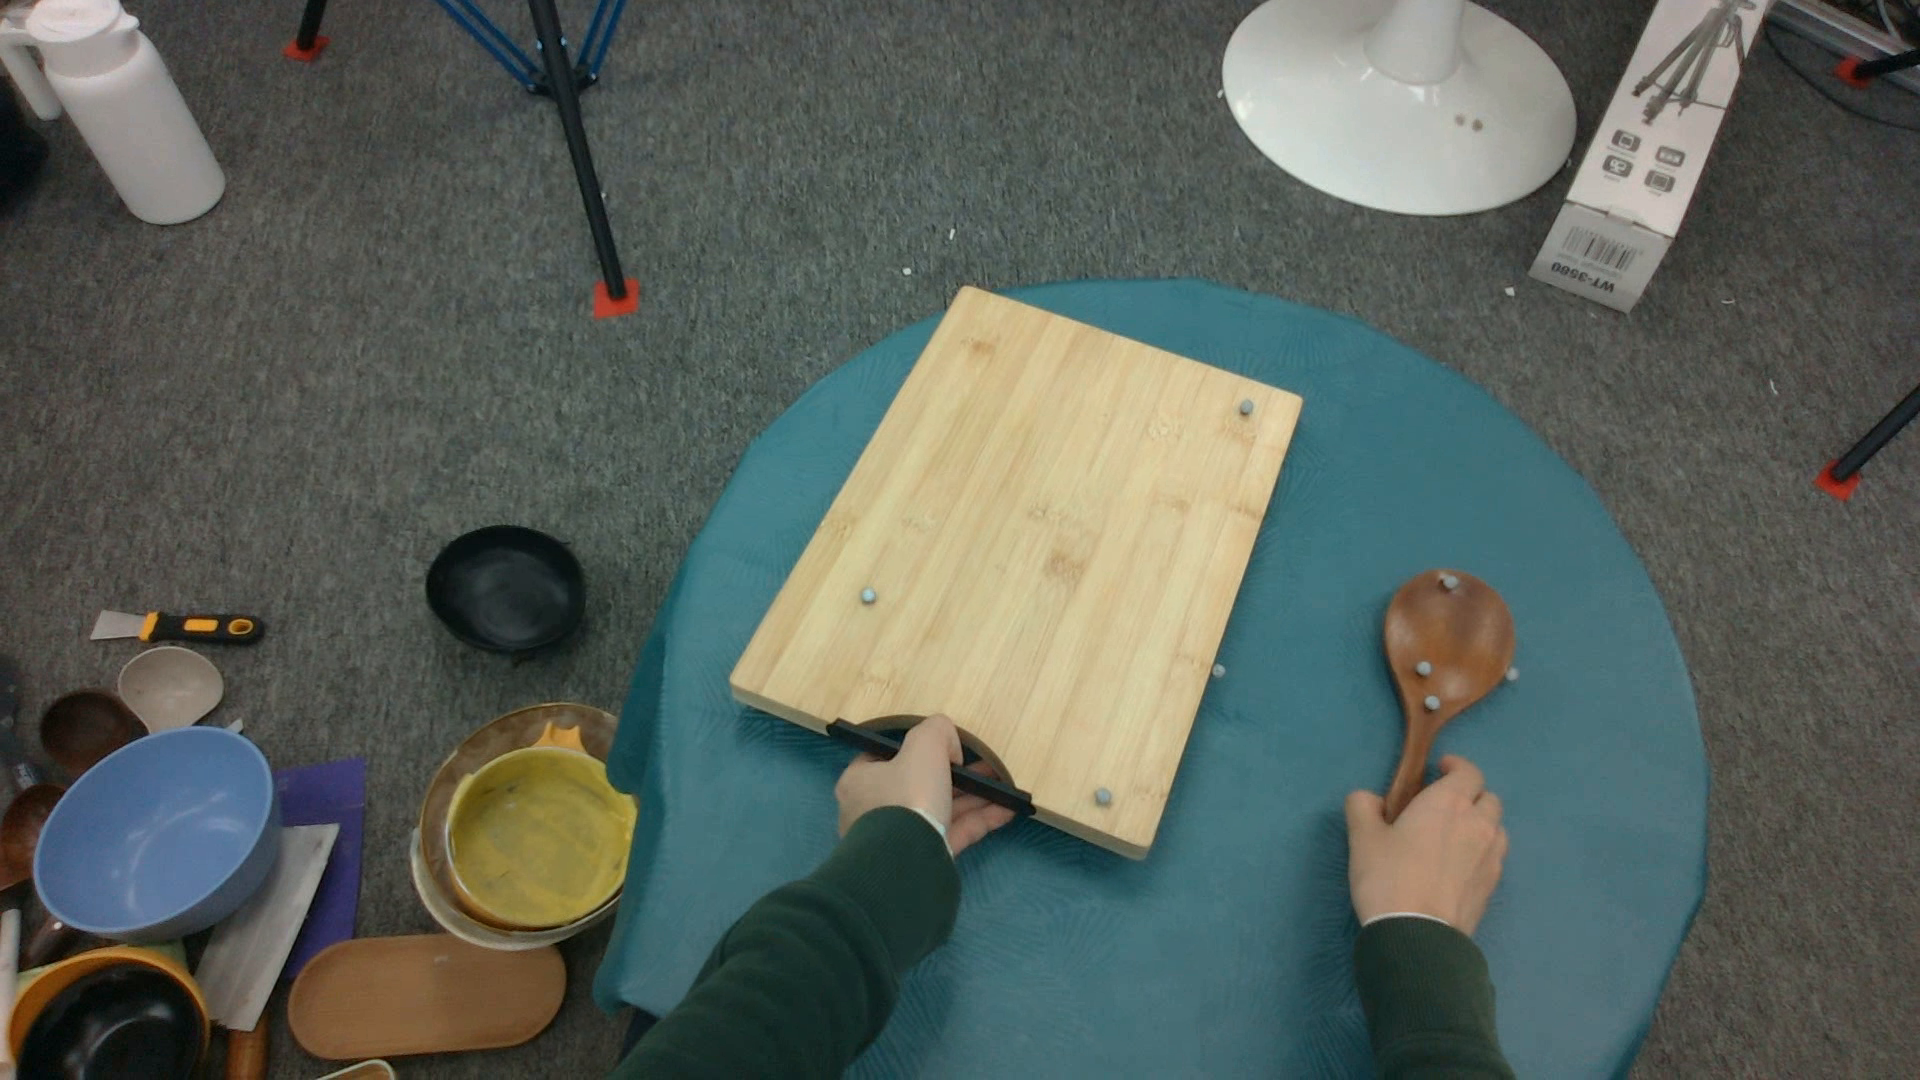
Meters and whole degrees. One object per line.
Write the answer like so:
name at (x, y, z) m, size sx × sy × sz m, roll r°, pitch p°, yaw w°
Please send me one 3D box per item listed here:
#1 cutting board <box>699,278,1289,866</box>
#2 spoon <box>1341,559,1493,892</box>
cutting board at (0.037, -0.004, 0.815) m, size 0.250 × 0.023 × 0.350 m, roll 19°, pitch 54°, yaw 9°
spoon at (0.250, 0.100, 0.776) m, size 0.075 × 0.017 × 0.217 m, roll 22°, pitch 58°, yaw 8°
